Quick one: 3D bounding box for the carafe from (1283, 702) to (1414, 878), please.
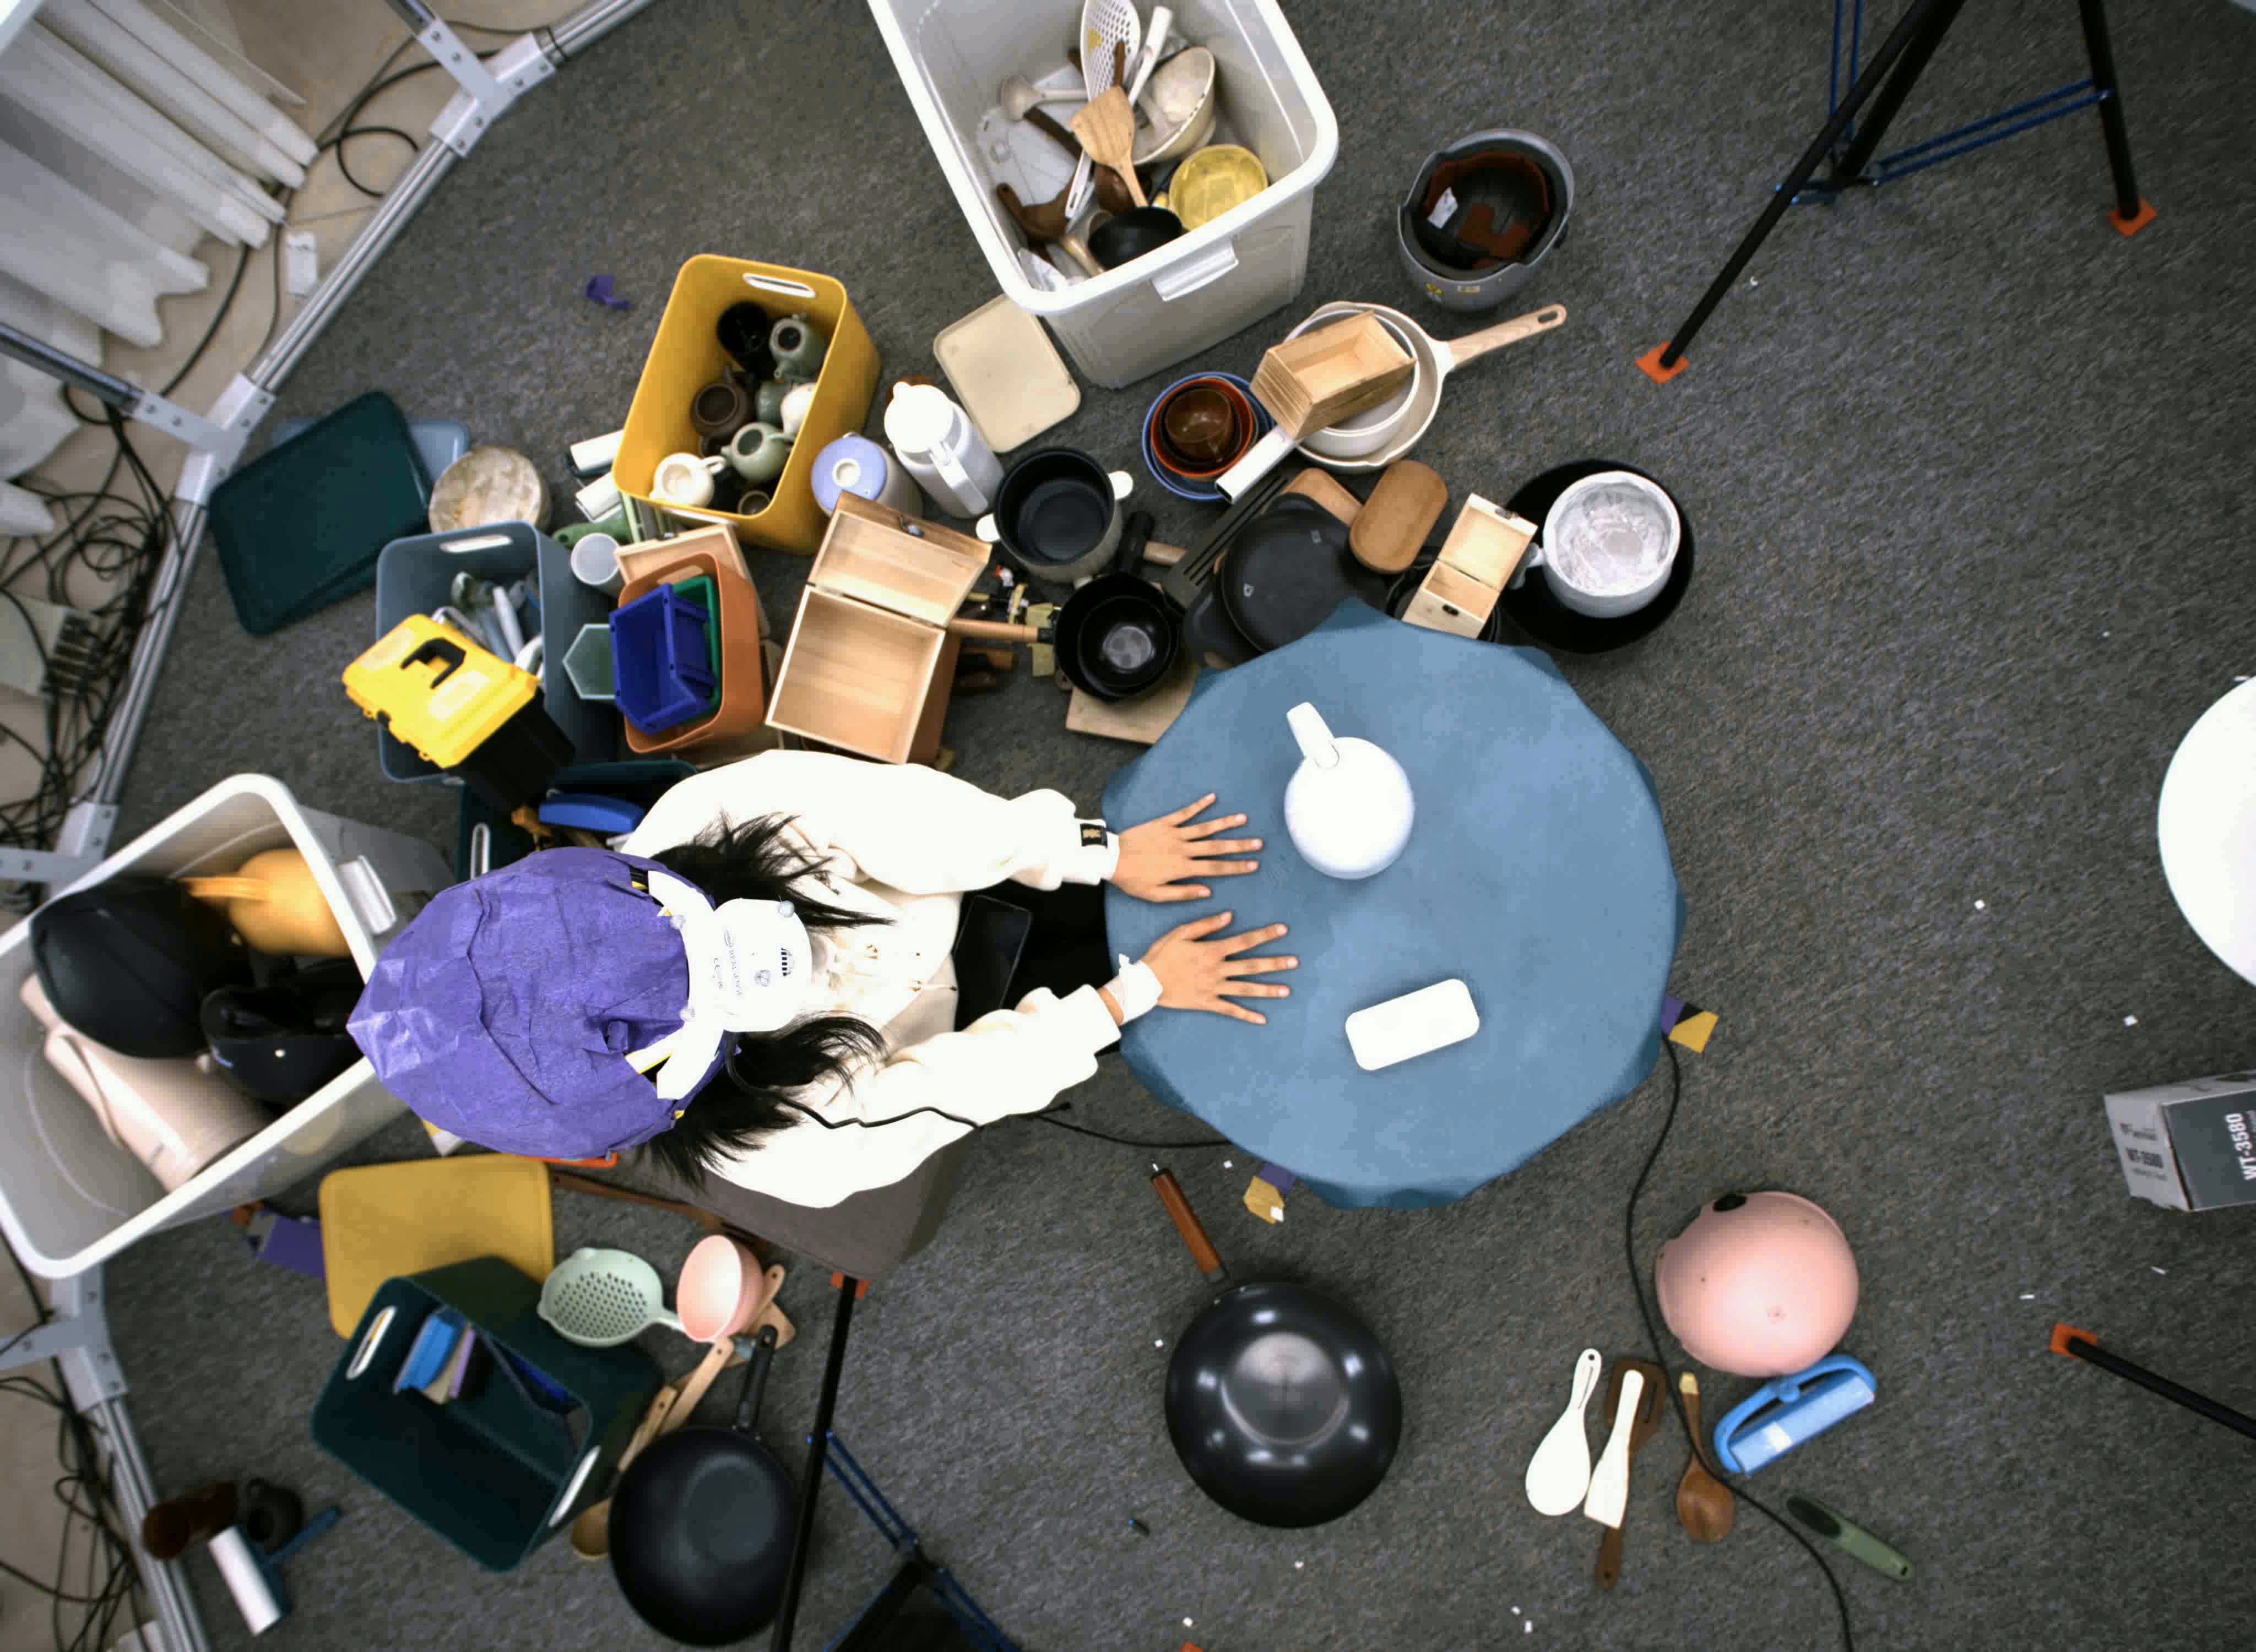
[{"bbox_3d":[0.205,-0.040,1.352,0.133,0.249,0.166,-30,80,6],"label":"carafe"}]

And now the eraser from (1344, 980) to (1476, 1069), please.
[{"bbox_3d":[0.292,0.203,1.433,0.132,0.034,0.063,-20,81,8],"label":"eraser"}]
